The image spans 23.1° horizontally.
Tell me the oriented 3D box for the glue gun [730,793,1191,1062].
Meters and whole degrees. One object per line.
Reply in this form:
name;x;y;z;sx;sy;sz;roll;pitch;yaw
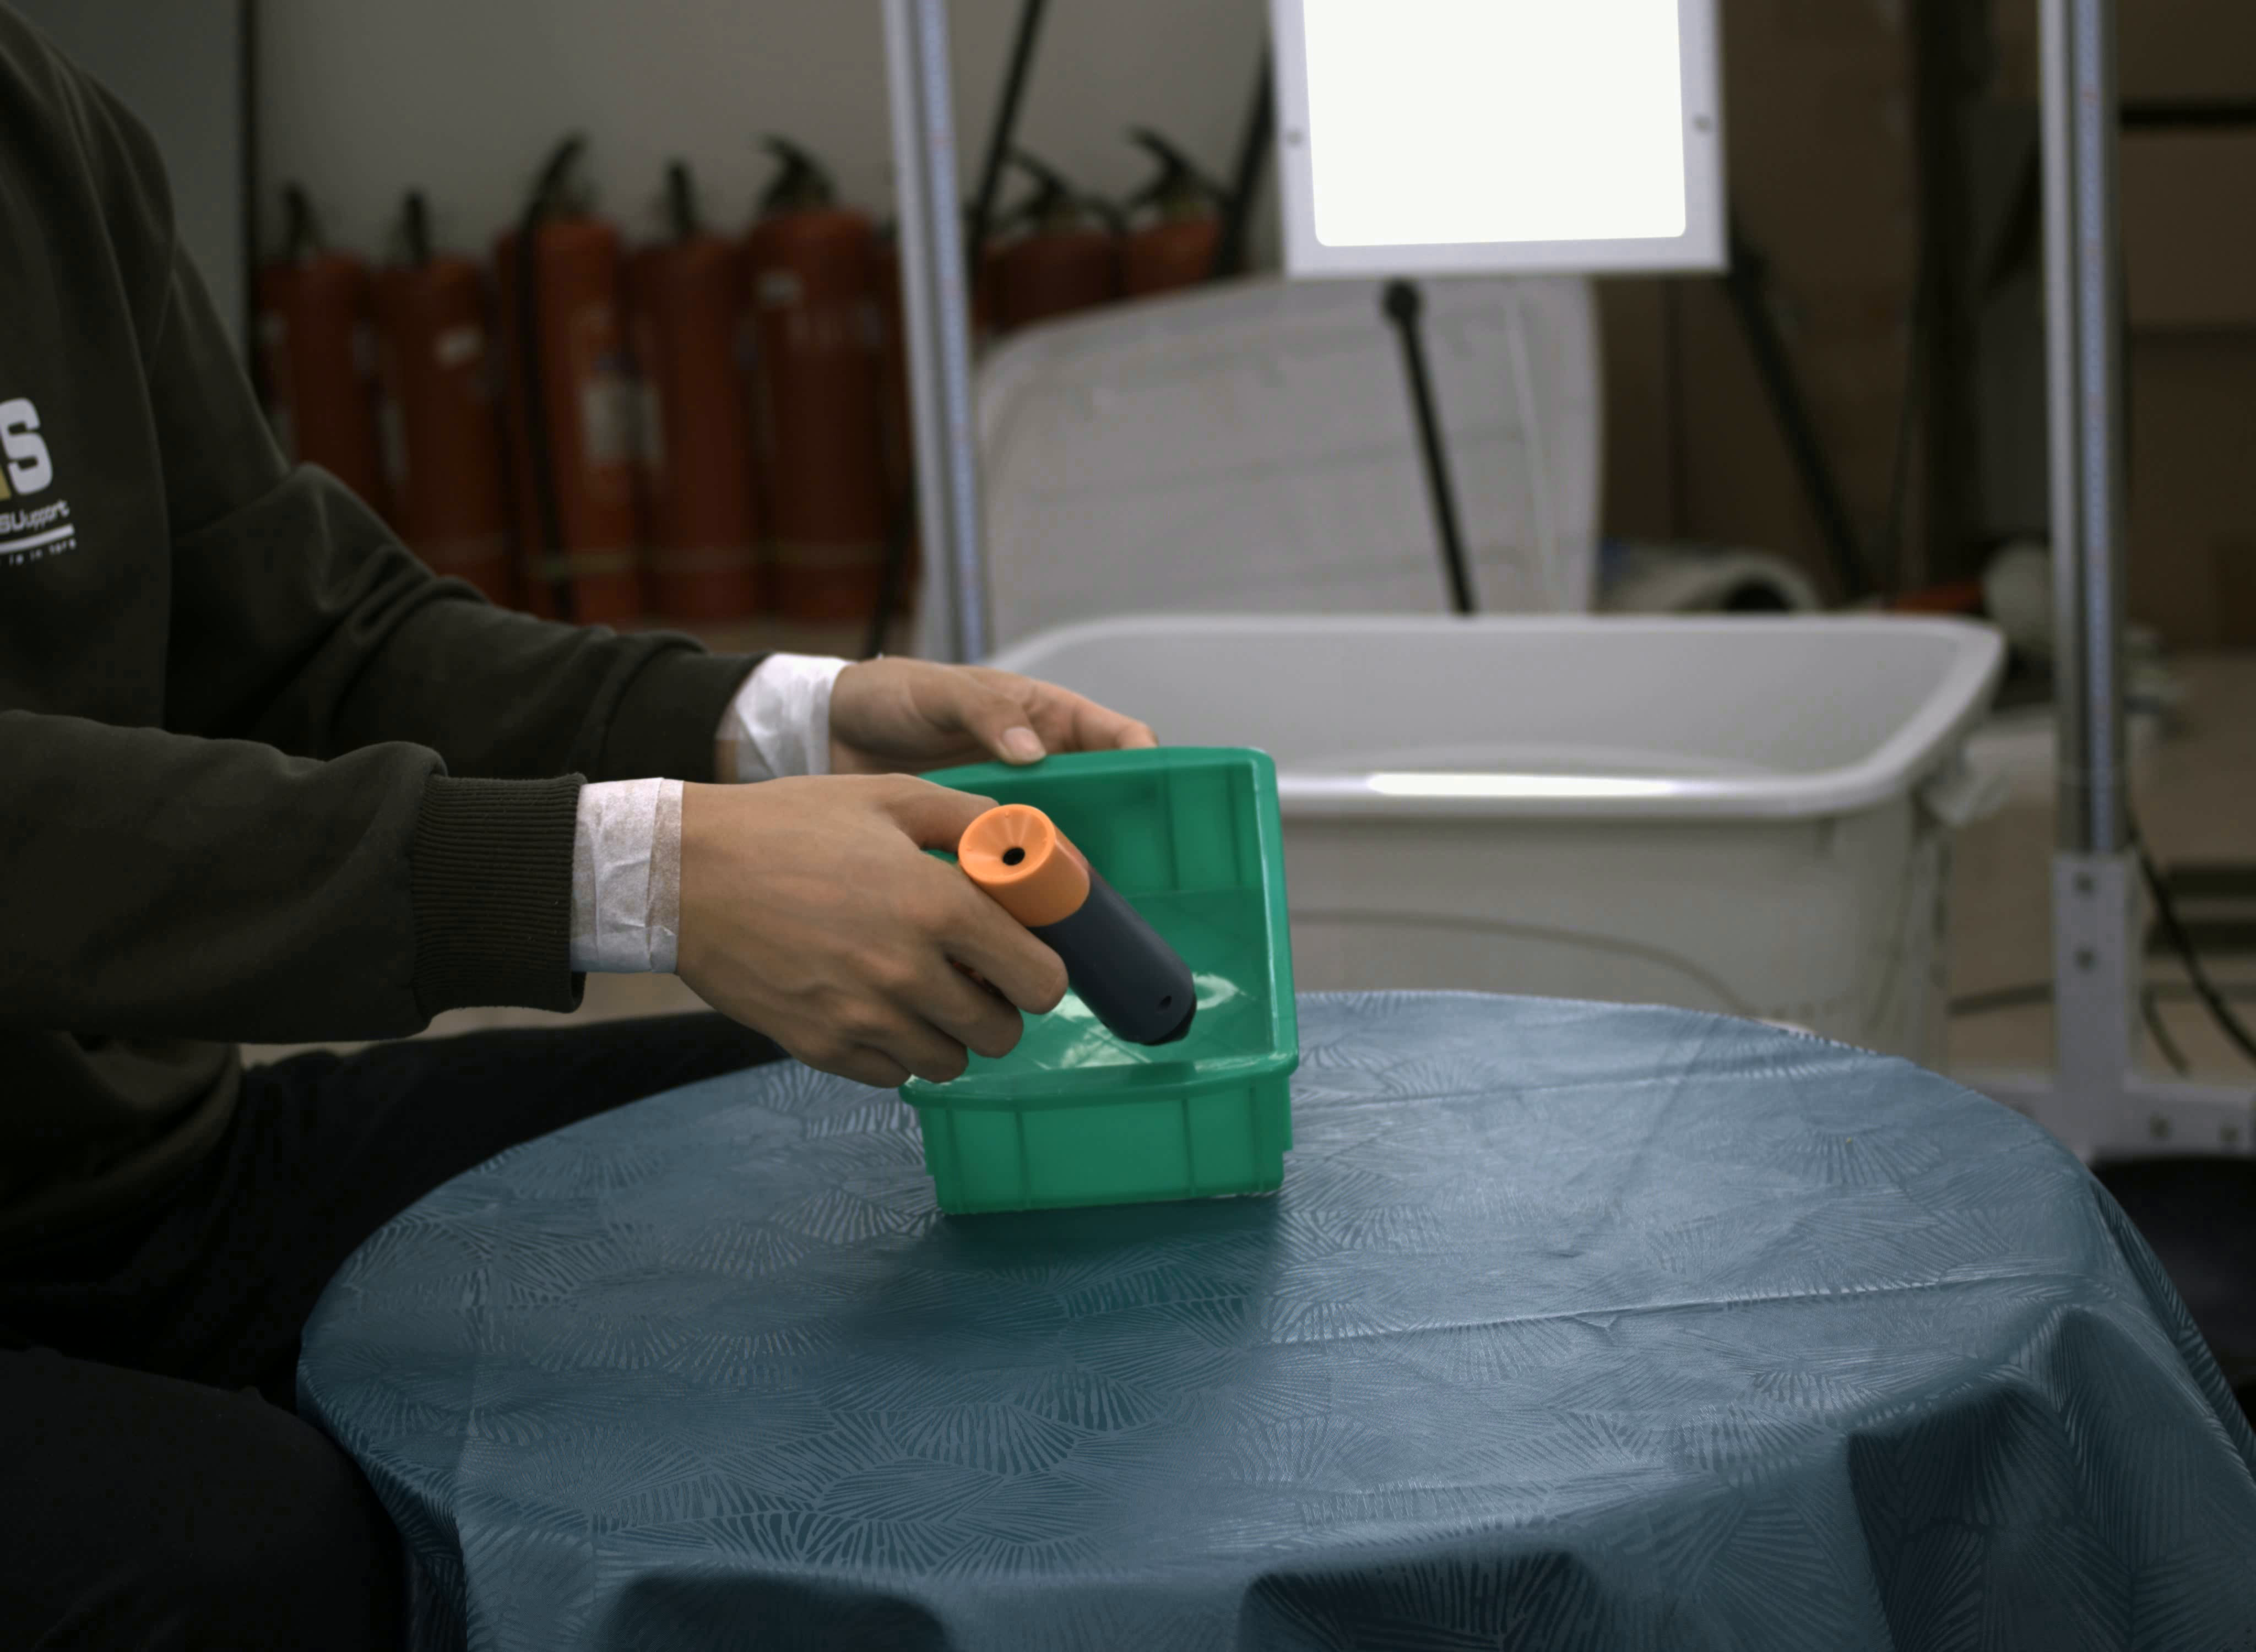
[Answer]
glue gun;-0.054;0.042;1.827;0.141;0.117;0.041;-4;46;14

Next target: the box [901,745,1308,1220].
box;-0.009;0.056;1.943;0.138;0.065;0.210;-7;35;2
